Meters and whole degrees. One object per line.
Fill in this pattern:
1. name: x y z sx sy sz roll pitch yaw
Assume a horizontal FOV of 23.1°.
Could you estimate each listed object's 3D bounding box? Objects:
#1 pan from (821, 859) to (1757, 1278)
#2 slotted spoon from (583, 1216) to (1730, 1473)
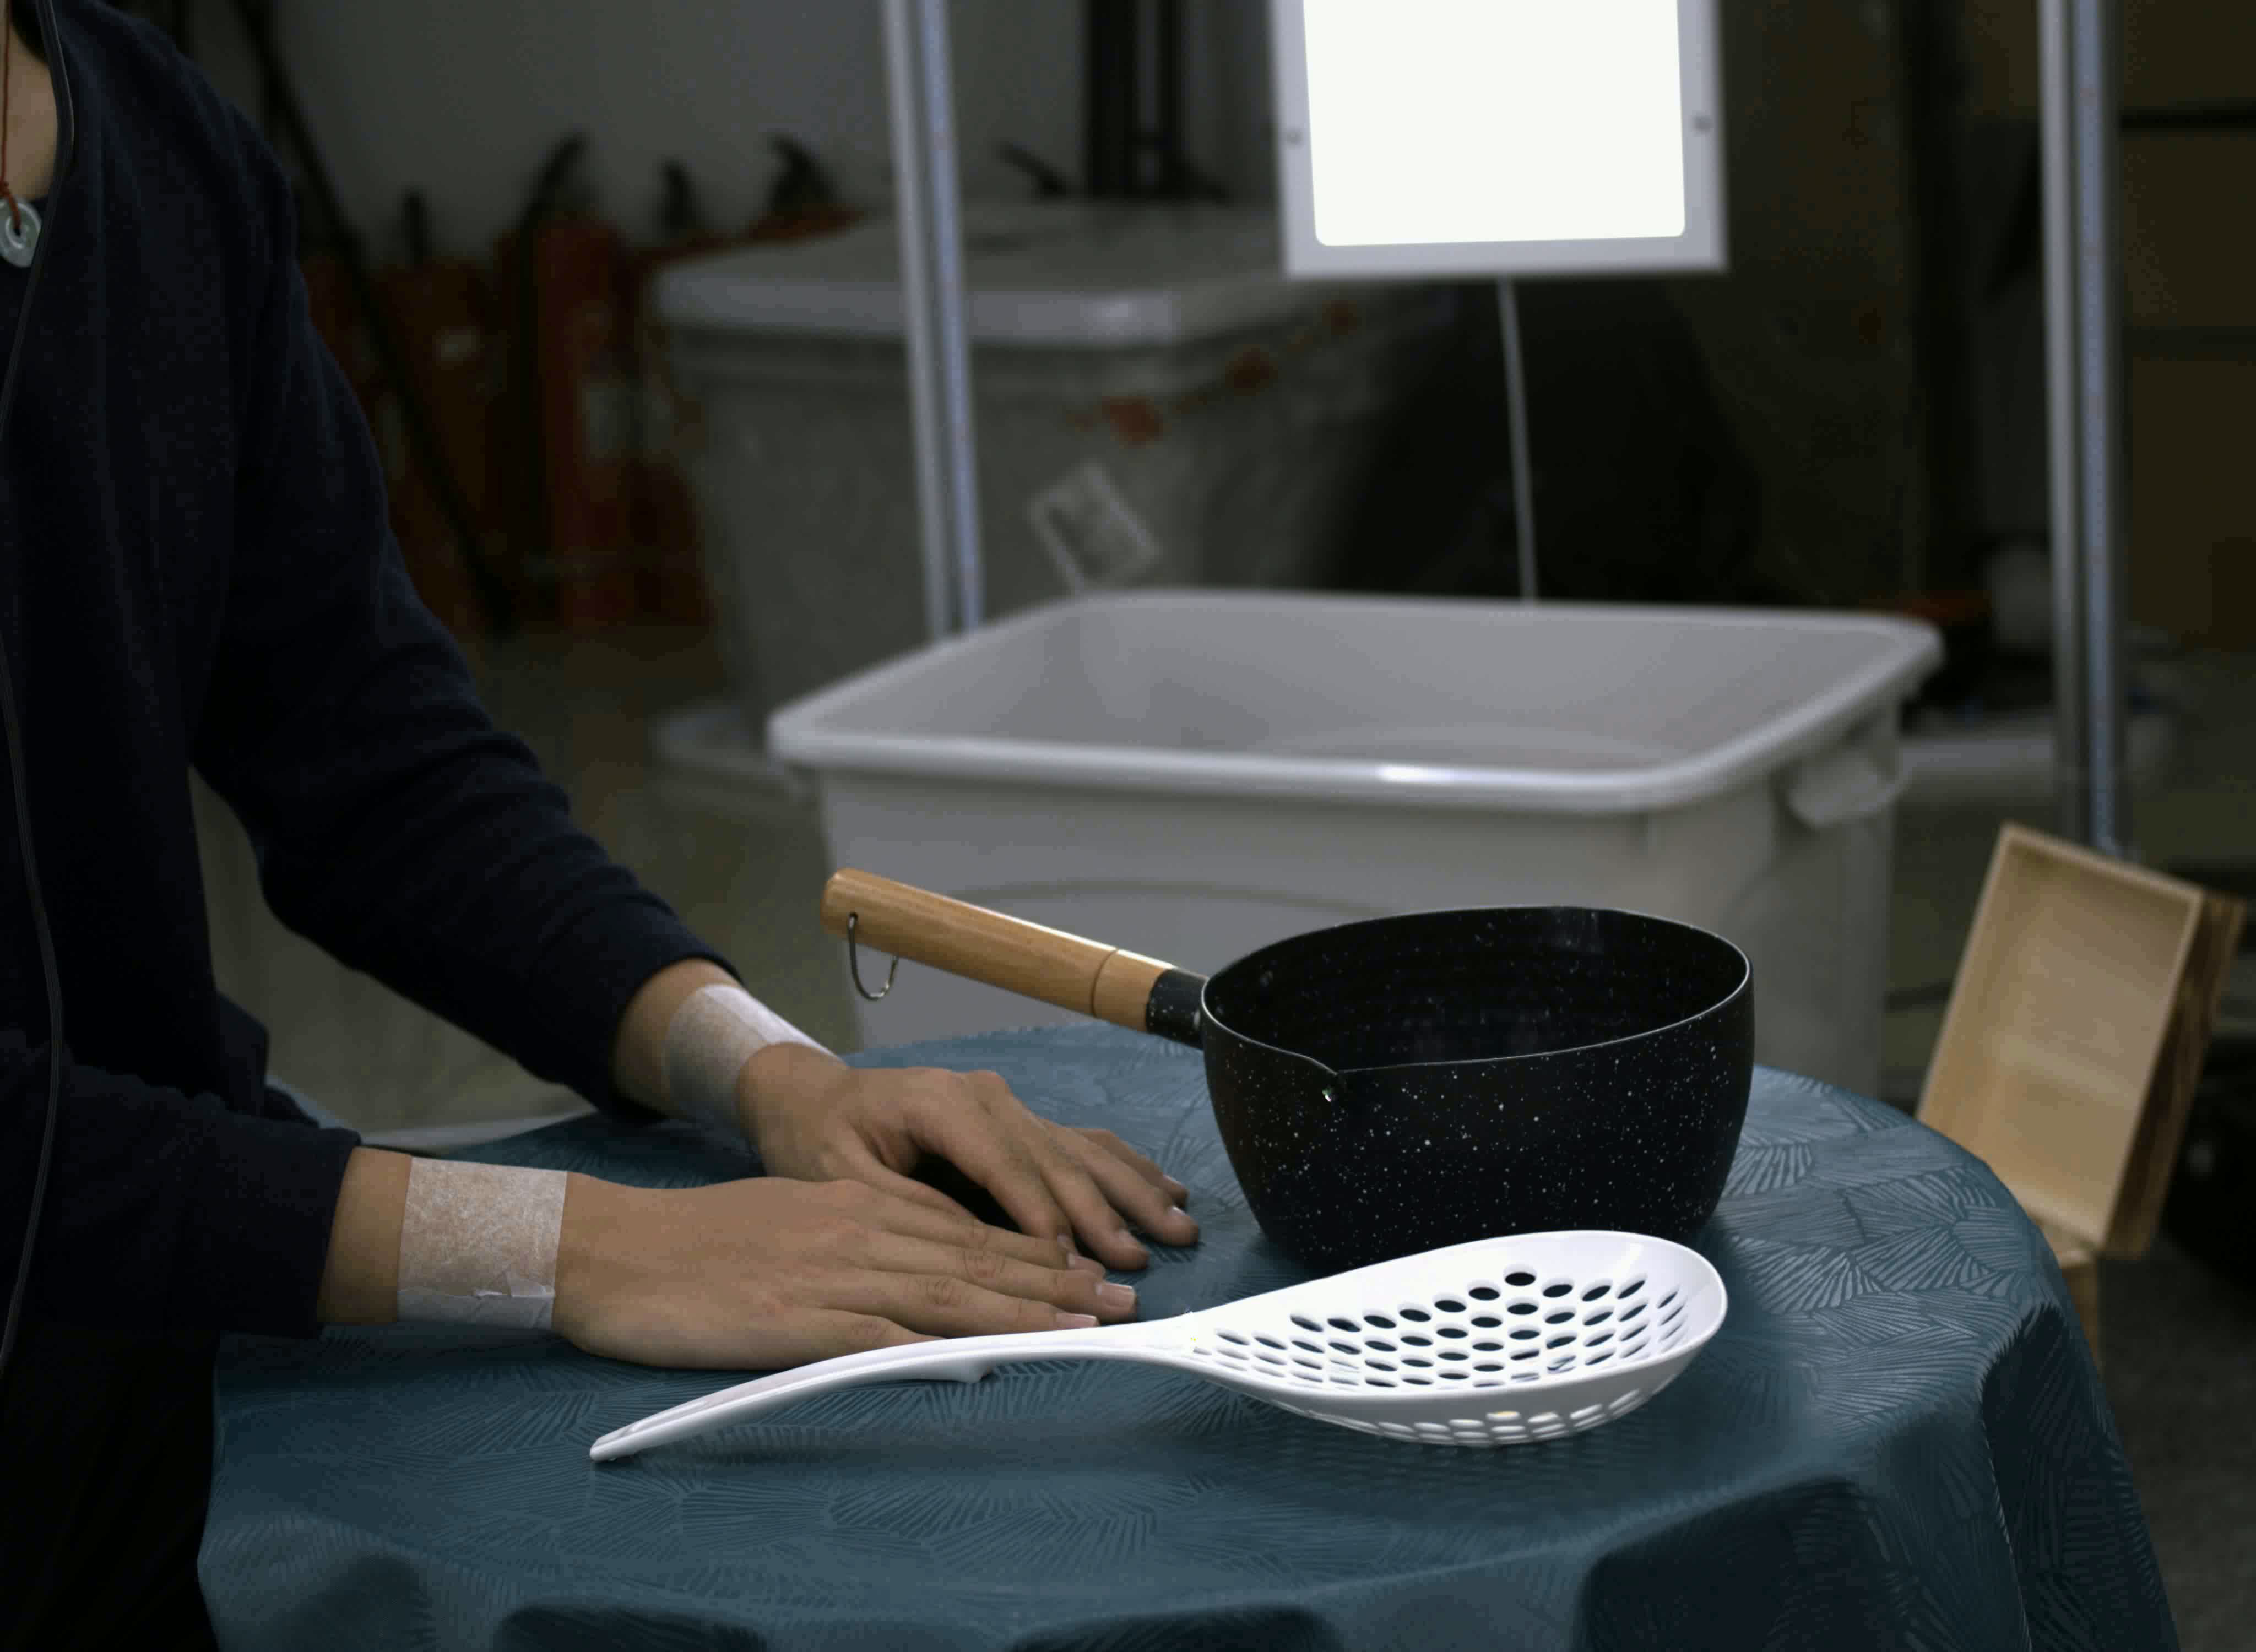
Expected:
1. pan: 0.047 0.076 1.860 0.349 0.108 0.203 4 17 28
2. slotted spoon: 0.007 0.164 1.652 0.349 0.050 0.136 -2 16 7
